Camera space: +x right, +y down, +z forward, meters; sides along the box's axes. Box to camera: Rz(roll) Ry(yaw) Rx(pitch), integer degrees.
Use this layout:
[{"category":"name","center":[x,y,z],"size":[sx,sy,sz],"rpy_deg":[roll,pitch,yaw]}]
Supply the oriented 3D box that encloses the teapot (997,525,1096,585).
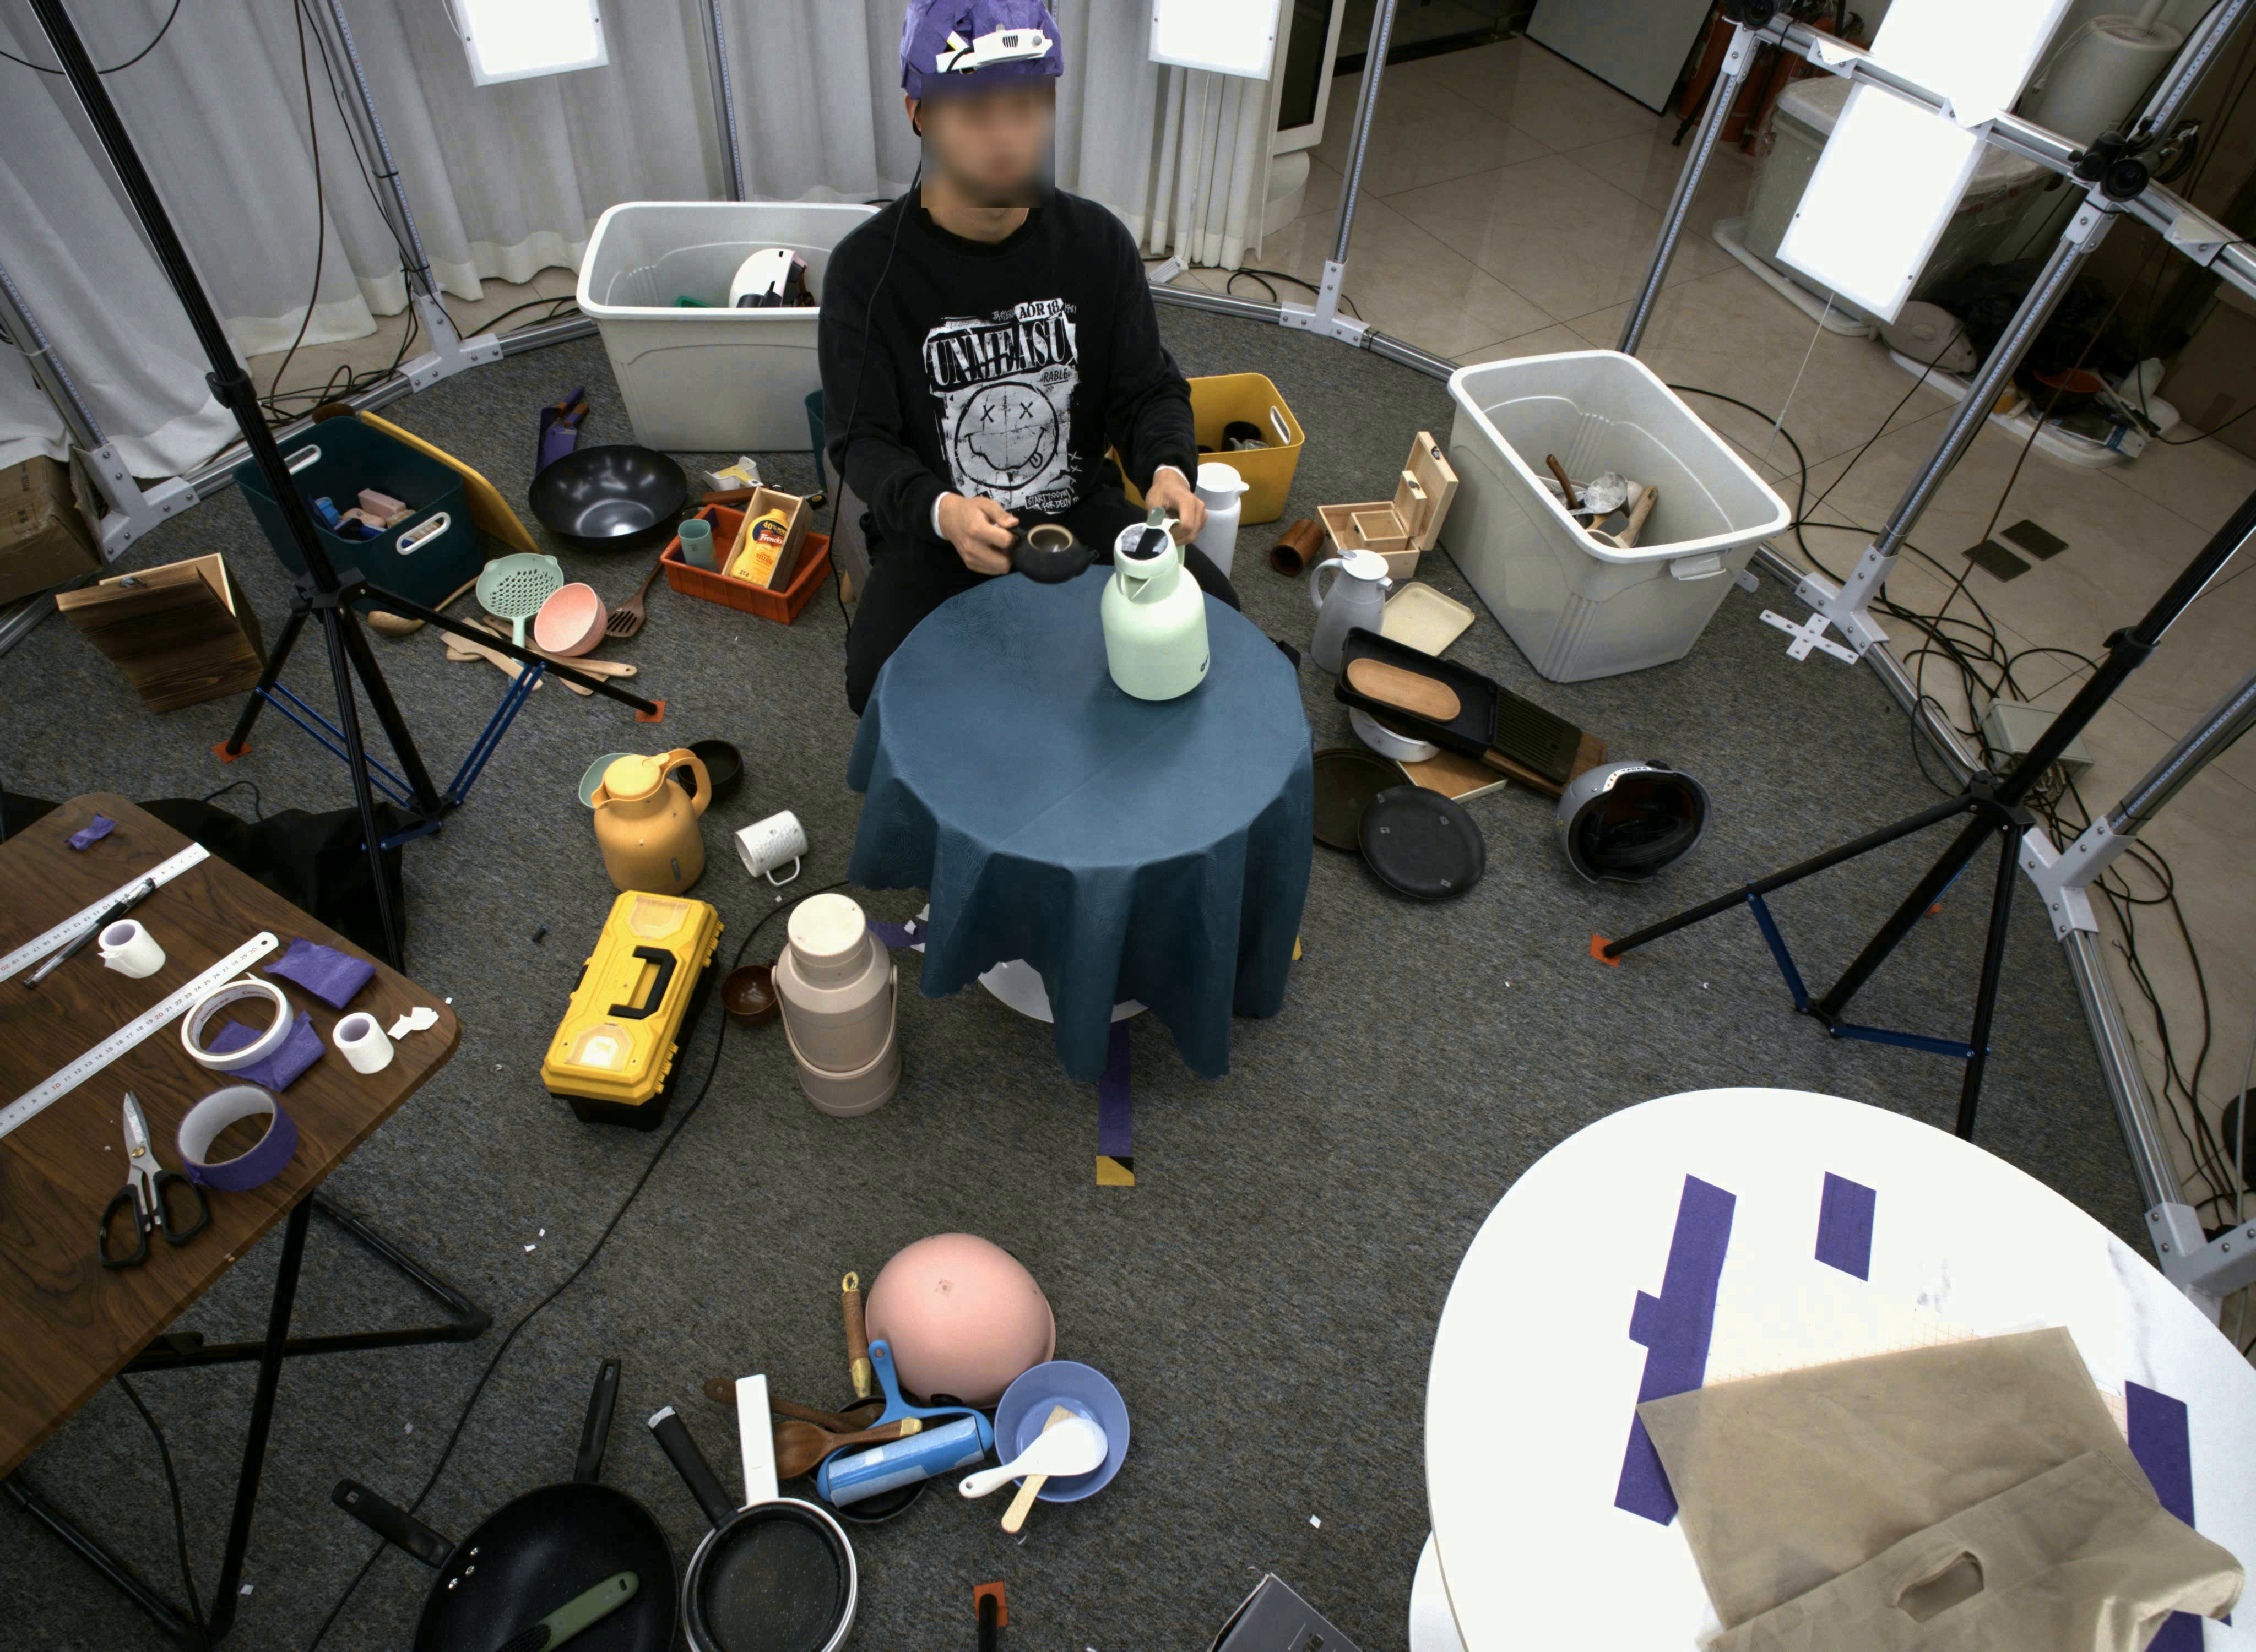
[{"category":"teapot","center":[-0.104,-0.343,1.635],"size":[0.133,0.052,0.093],"rpy_deg":[19,46,10]}]

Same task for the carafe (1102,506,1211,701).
[{"category":"carafe","center":[0.039,-0.309,1.764],"size":[0.145,0.250,0.190],"rpy_deg":[12,55,16]}]
